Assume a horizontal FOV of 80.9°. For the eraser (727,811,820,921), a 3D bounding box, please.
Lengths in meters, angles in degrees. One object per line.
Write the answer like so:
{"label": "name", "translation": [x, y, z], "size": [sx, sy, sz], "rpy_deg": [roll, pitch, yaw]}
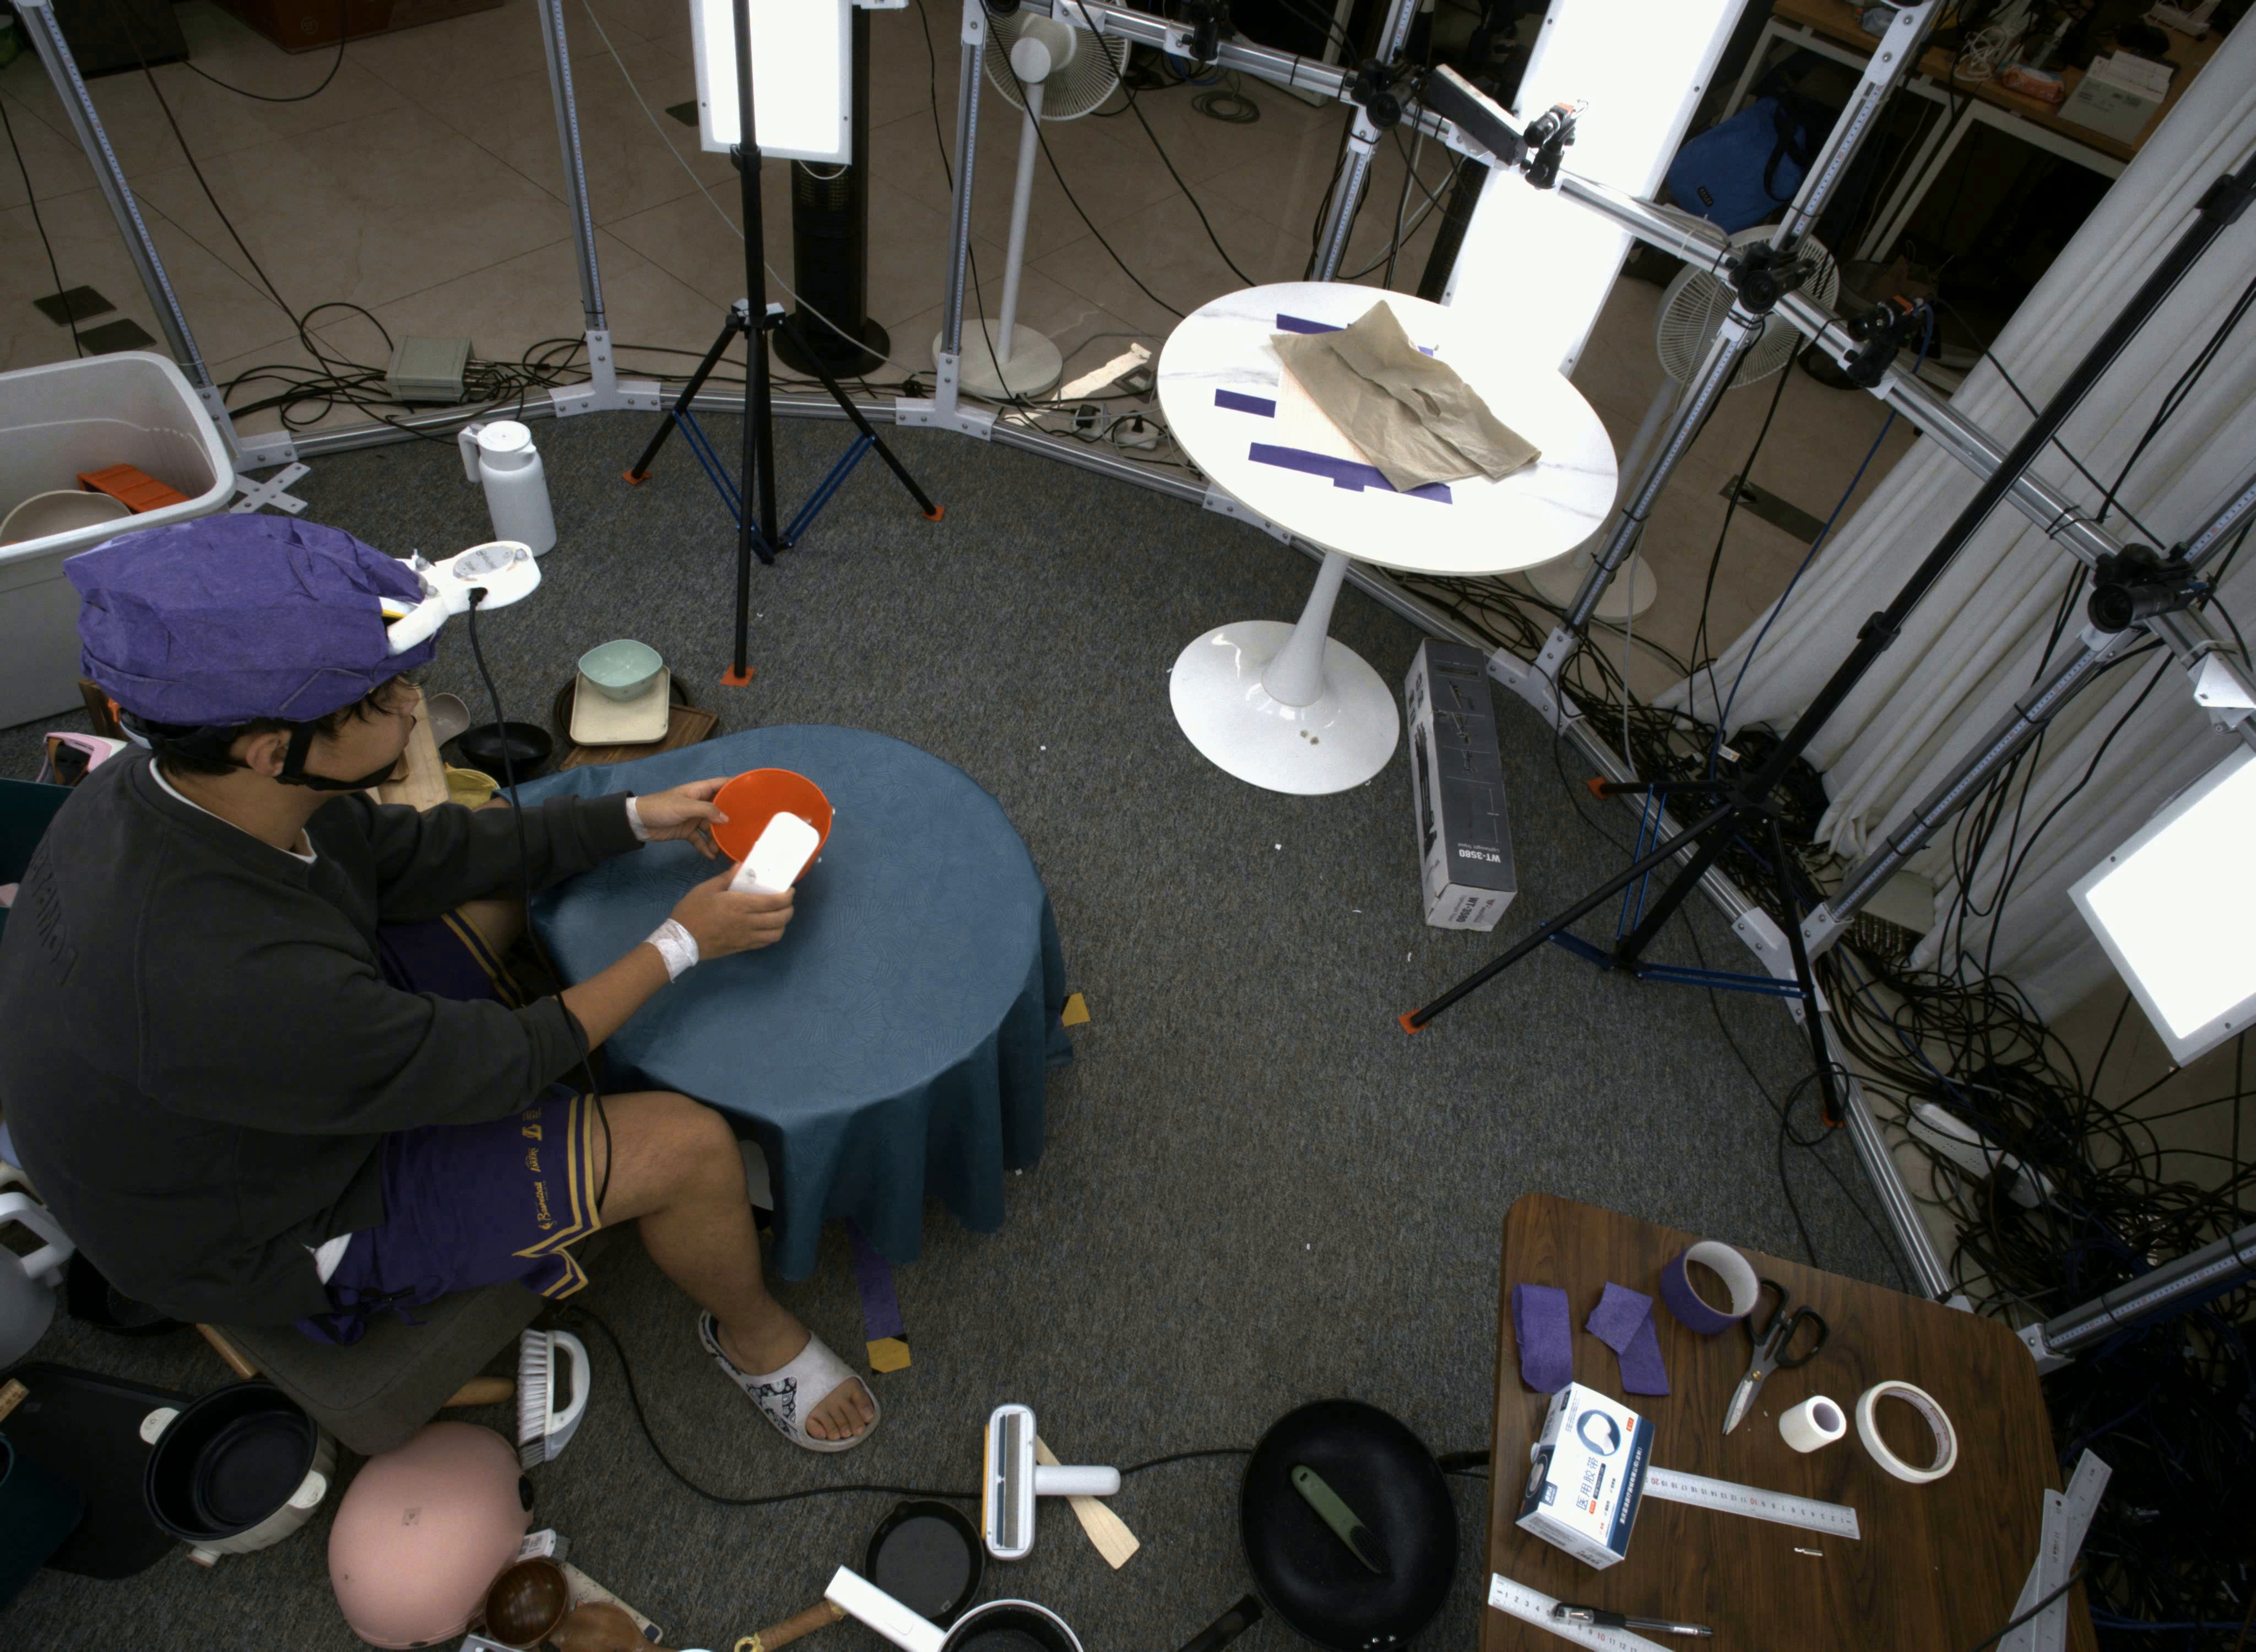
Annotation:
{"label": "eraser", "translation": [-0.427, 0.045, 1.558], "size": [0.064, 0.034, 0.132], "rpy_deg": [36, 94, -6]}

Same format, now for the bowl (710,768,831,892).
{"label": "bowl", "translation": [-0.452, 0.016, 1.644], "size": [0.147, 0.107, 0.145], "rpy_deg": [8, 48, -7]}
